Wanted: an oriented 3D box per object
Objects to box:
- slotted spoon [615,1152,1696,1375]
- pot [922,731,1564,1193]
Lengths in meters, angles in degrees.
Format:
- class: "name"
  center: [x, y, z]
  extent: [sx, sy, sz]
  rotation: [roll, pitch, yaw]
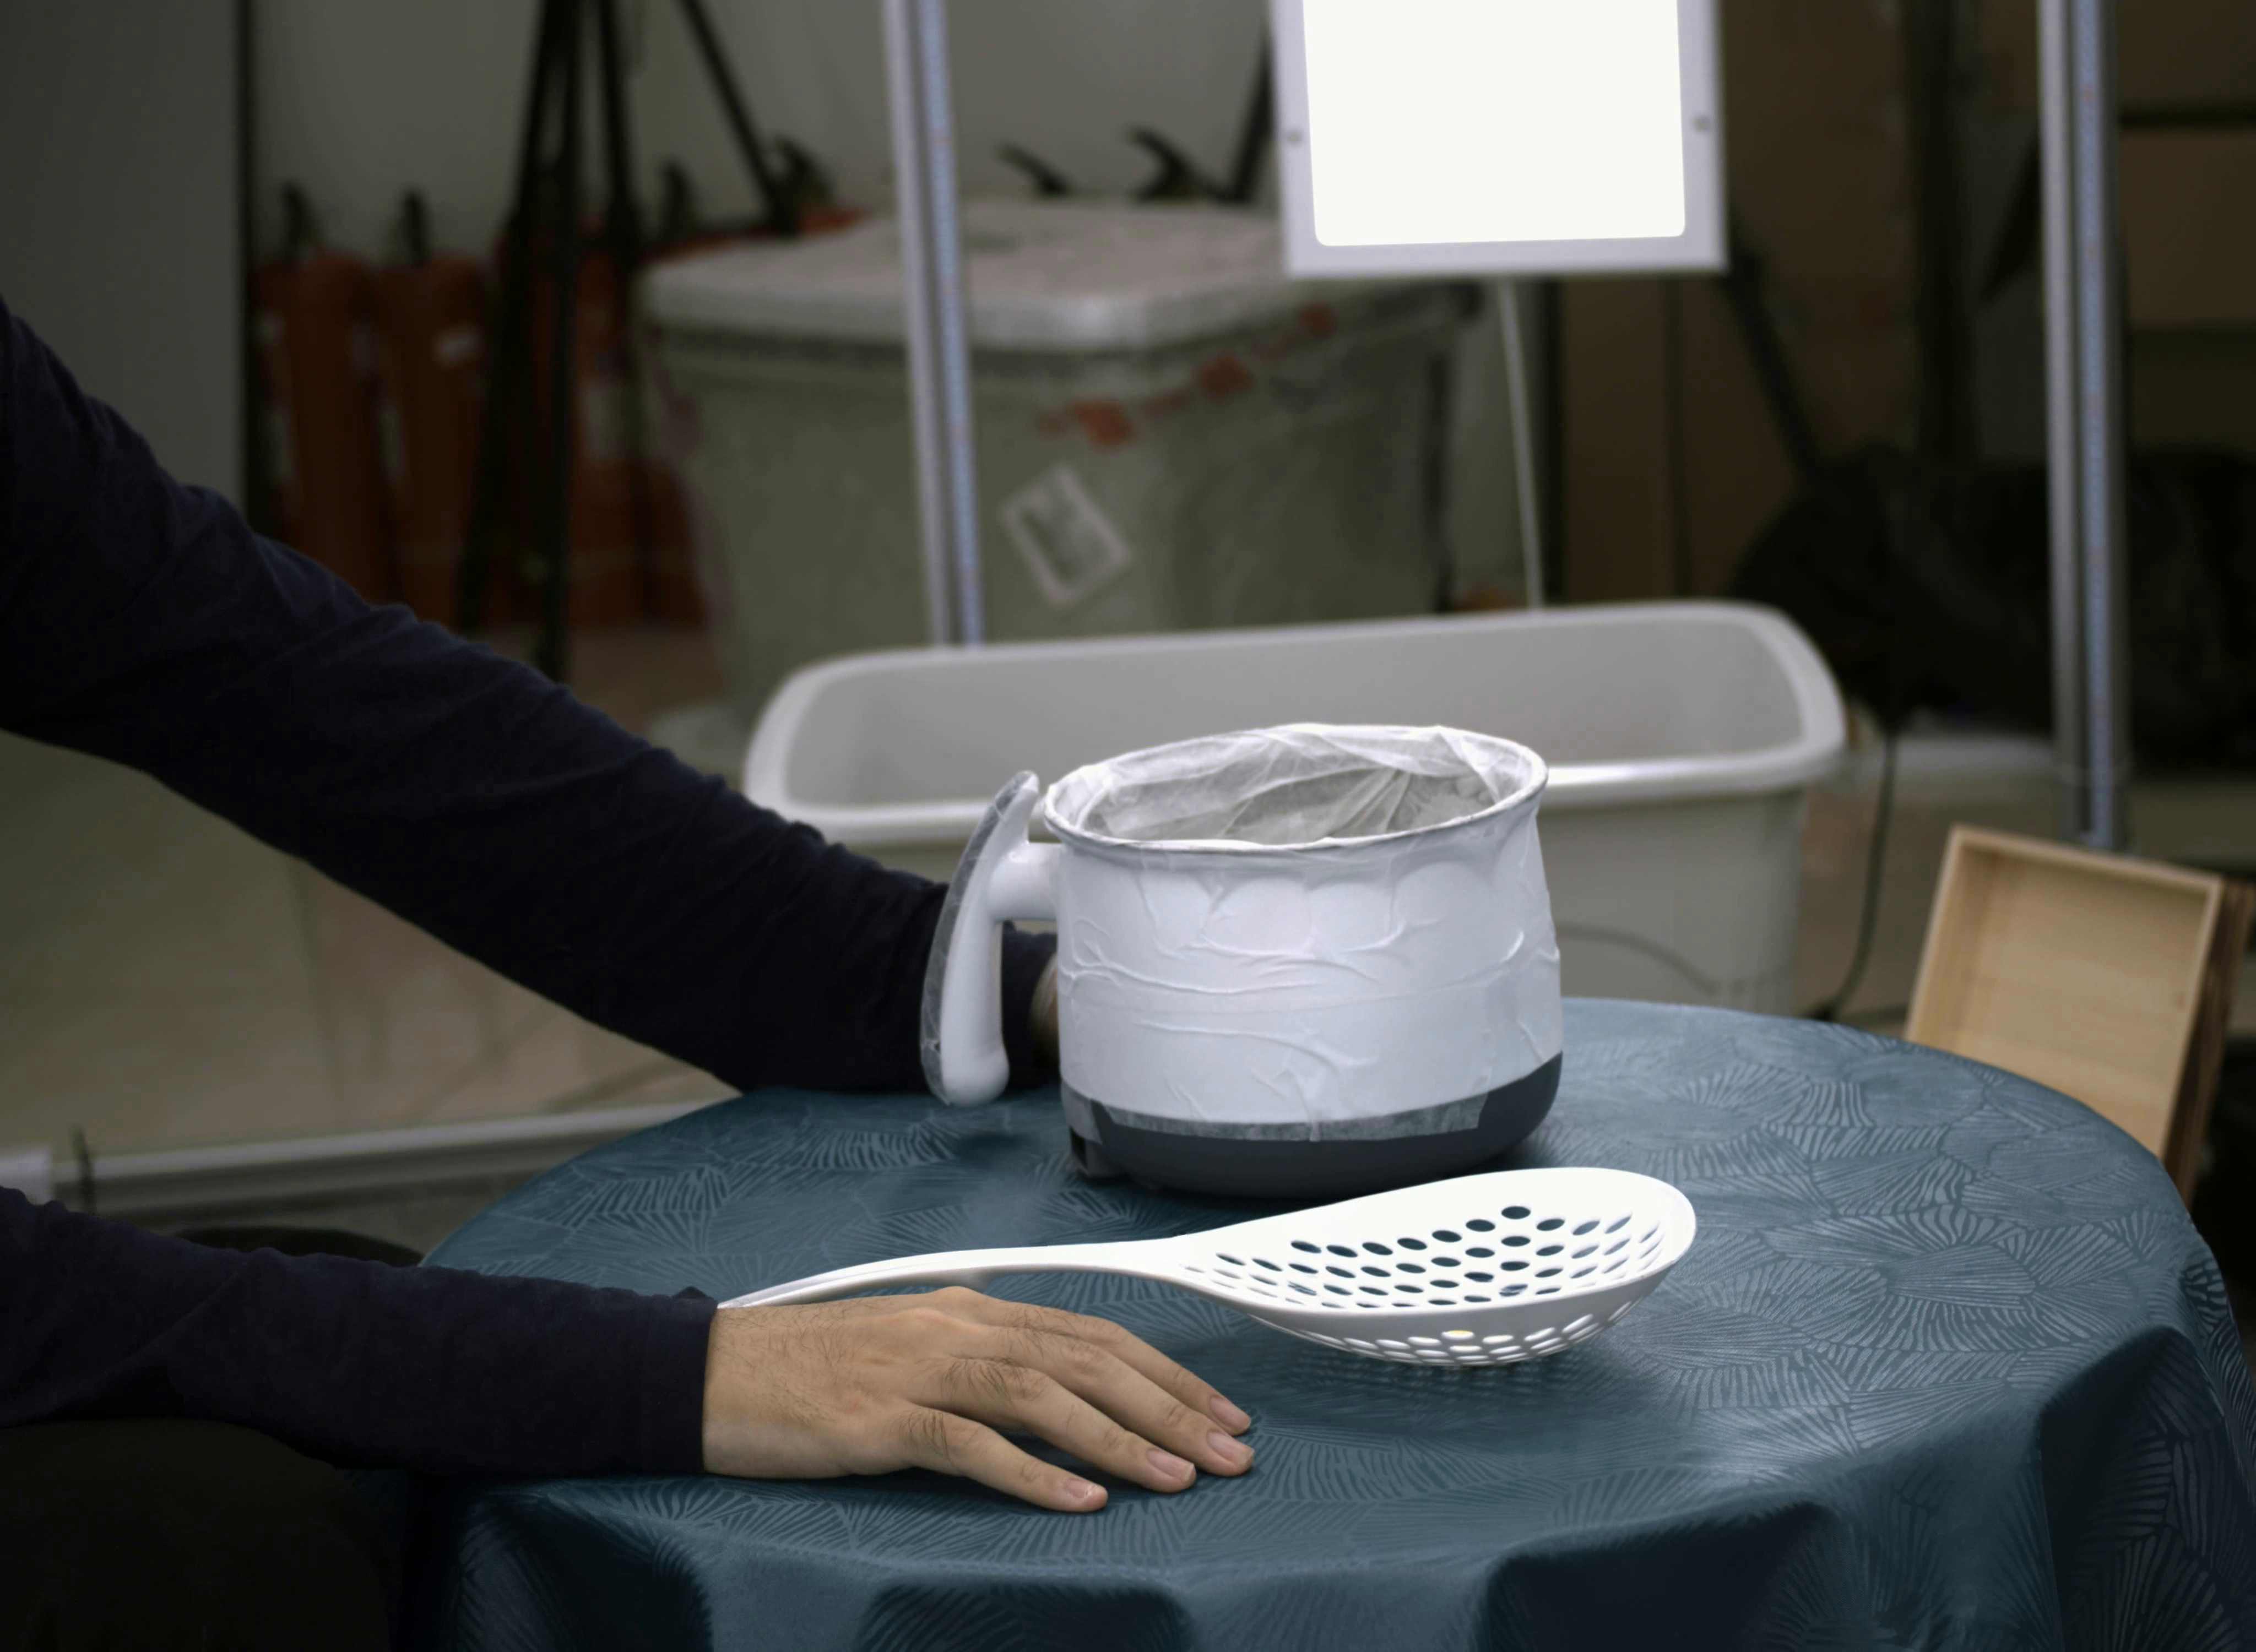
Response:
- class: "slotted spoon"
  center: [0.006, 0.146, 1.730]
  extent: [0.351, 0.050, 0.135]
  rotation: [-1, 15, 14]
- class: "pot"
  center: [0.037, 0.047, 1.928]
  extent: [0.236, 0.137, 0.176]
  rotation: [0, 12, 19]
